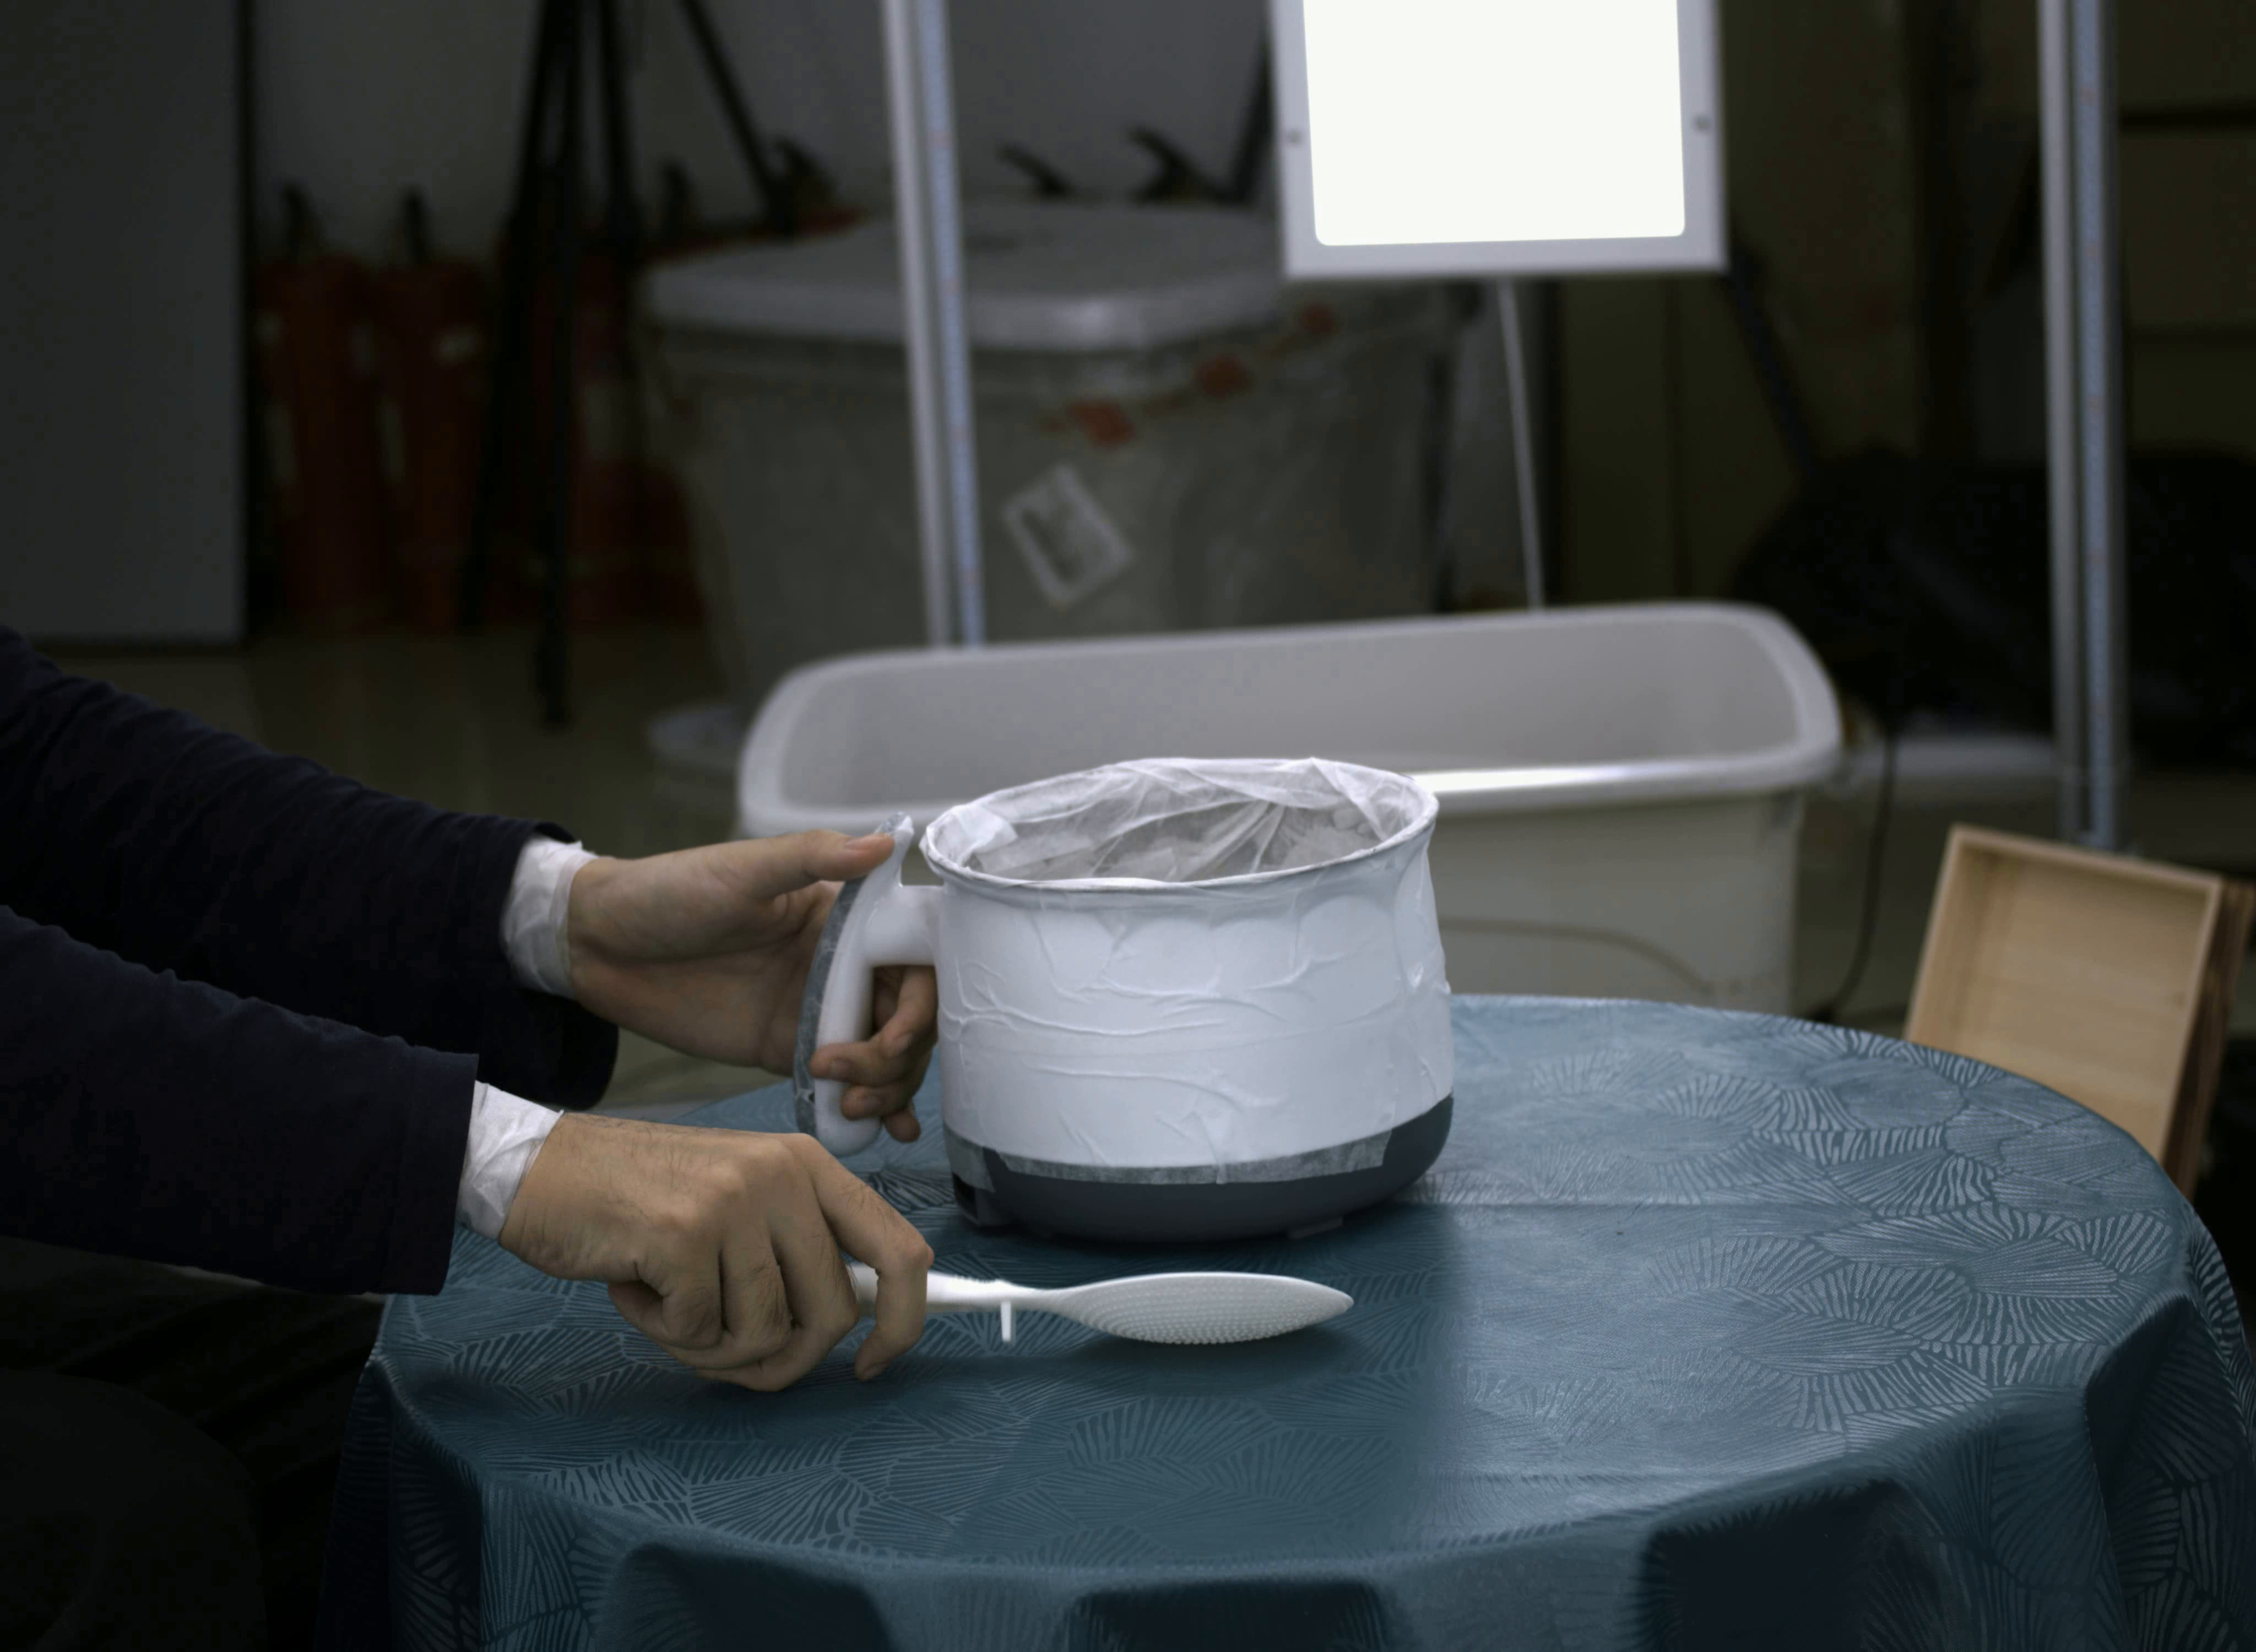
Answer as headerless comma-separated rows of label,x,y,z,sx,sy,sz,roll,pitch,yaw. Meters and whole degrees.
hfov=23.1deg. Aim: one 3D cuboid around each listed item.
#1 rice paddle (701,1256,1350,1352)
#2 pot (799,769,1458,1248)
rice paddle,-0.032,0.149,1.737,0.206,0.029,0.068,-1,-16,8
pot,-0.004,0.063,1.891,0.236,0.137,0.176,-3,12,15
